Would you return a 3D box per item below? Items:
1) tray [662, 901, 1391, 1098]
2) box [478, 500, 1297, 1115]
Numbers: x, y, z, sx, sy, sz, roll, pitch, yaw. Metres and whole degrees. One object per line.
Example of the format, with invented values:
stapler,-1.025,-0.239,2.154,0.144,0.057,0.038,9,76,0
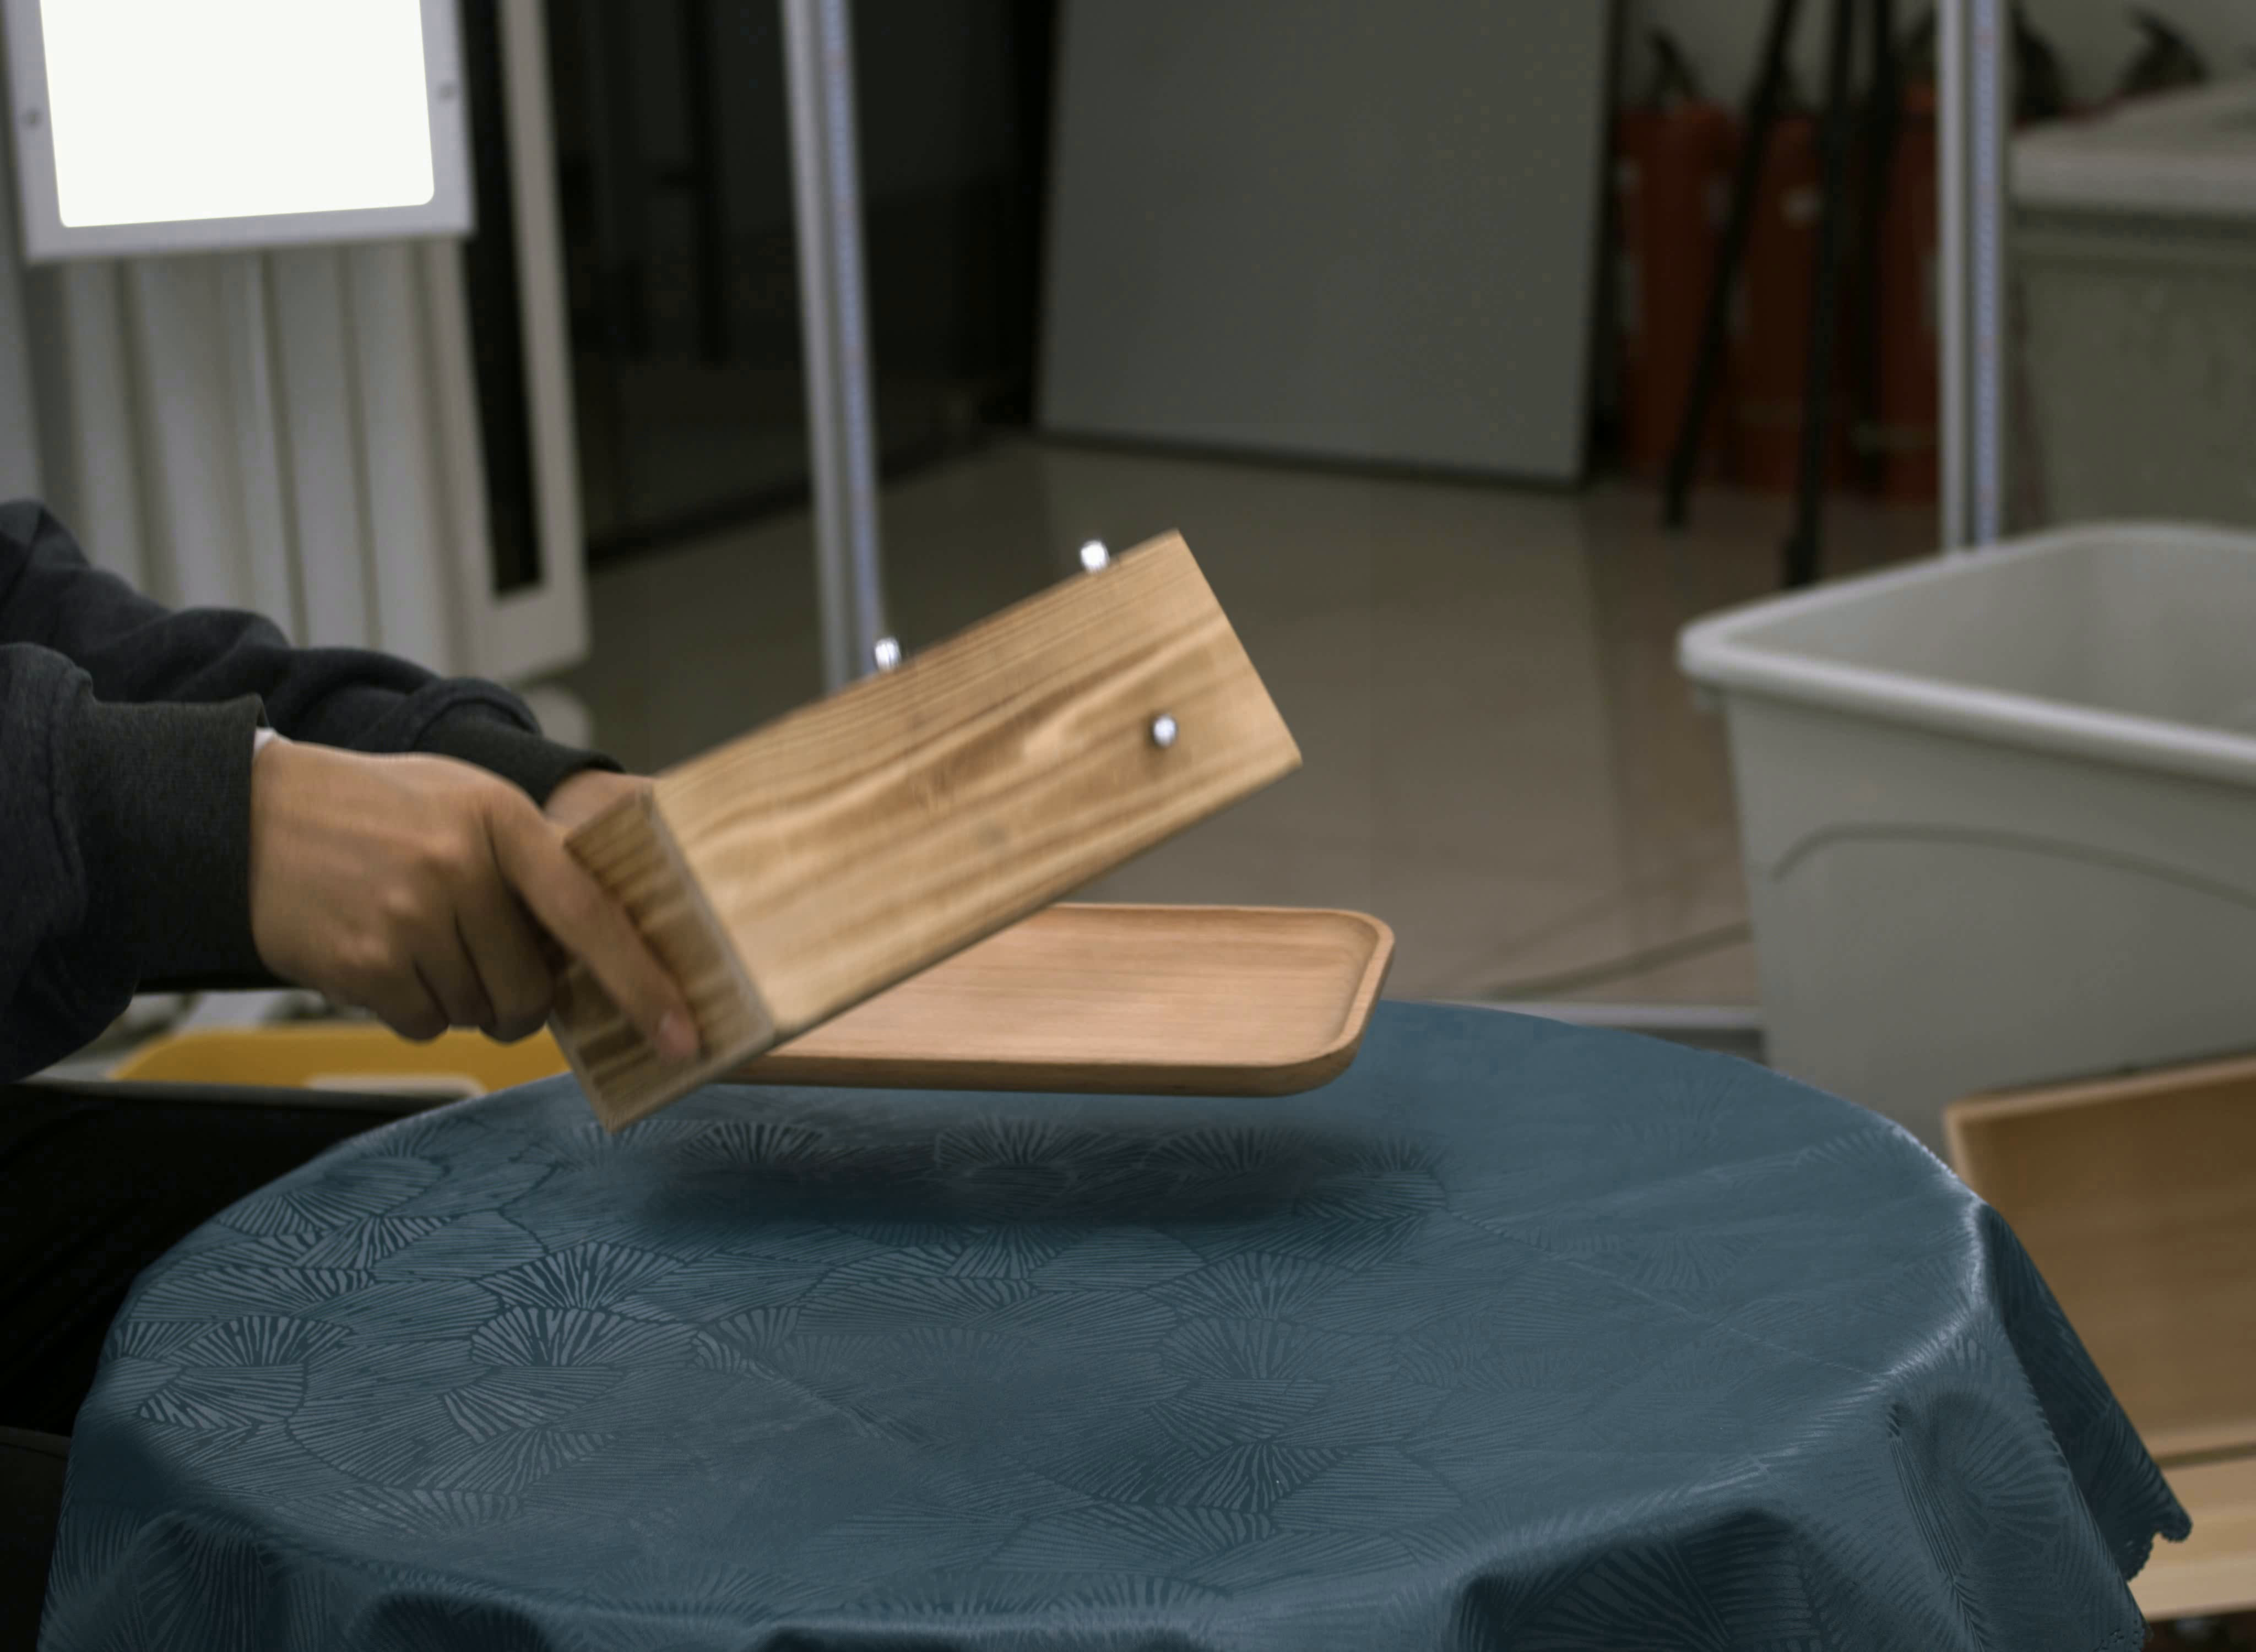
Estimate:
tray,-0.040,0.057,1.797,0.249,0.023,0.130,0,20,14
box,-0.068,-0.006,1.563,0.207,0.081,0.108,-27,-5,-38
